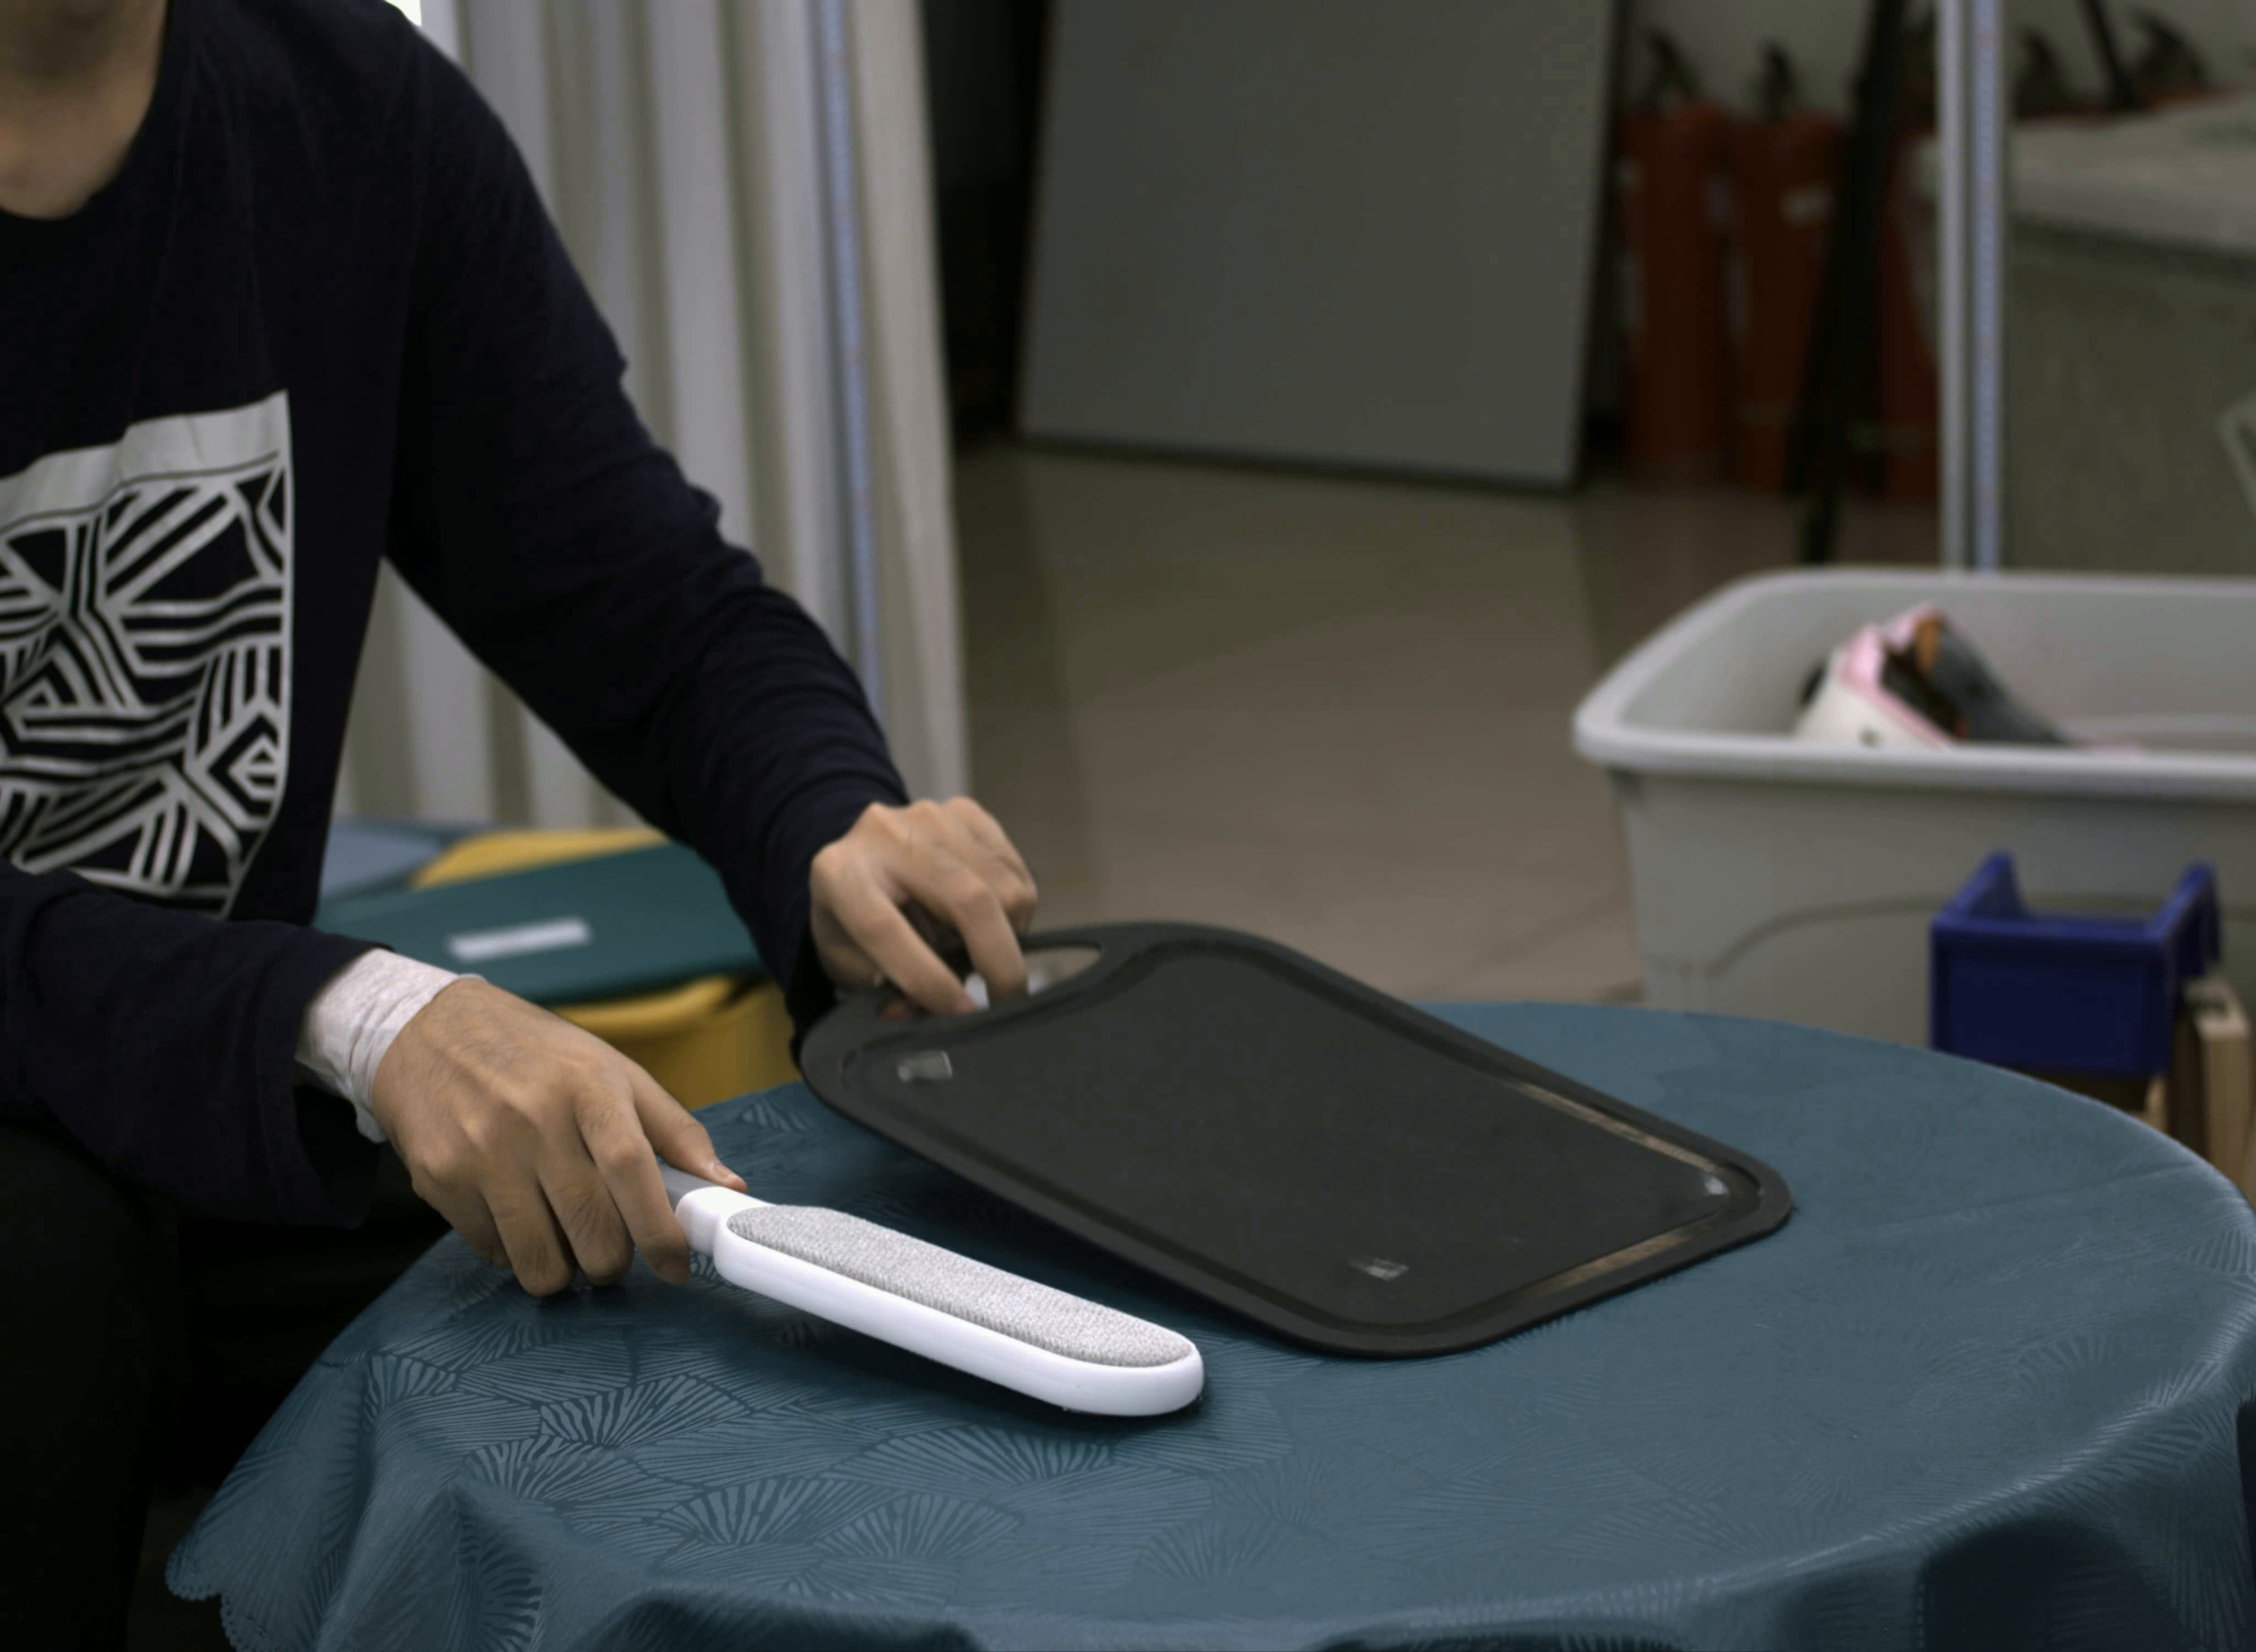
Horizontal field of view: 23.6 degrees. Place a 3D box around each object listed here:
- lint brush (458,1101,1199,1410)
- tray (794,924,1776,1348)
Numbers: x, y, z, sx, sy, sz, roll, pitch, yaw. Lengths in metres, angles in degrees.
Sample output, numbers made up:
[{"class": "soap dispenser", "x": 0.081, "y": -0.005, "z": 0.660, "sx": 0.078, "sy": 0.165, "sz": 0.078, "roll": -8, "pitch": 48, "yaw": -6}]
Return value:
[{"class": "lint brush", "x": -0.098, "y": 0.129, "z": 1.654, "sx": 0.311, "sy": 0.021, "sz": 0.059, "roll": 16, "pitch": 19, "yaw": 41}, {"class": "tray", "x": 0.042, "y": 0.092, "z": 1.758, "sx": 0.206, "sy": 0.010, "sz": 0.329, "roll": -14, "pitch": 27, "yaw": -38}]
